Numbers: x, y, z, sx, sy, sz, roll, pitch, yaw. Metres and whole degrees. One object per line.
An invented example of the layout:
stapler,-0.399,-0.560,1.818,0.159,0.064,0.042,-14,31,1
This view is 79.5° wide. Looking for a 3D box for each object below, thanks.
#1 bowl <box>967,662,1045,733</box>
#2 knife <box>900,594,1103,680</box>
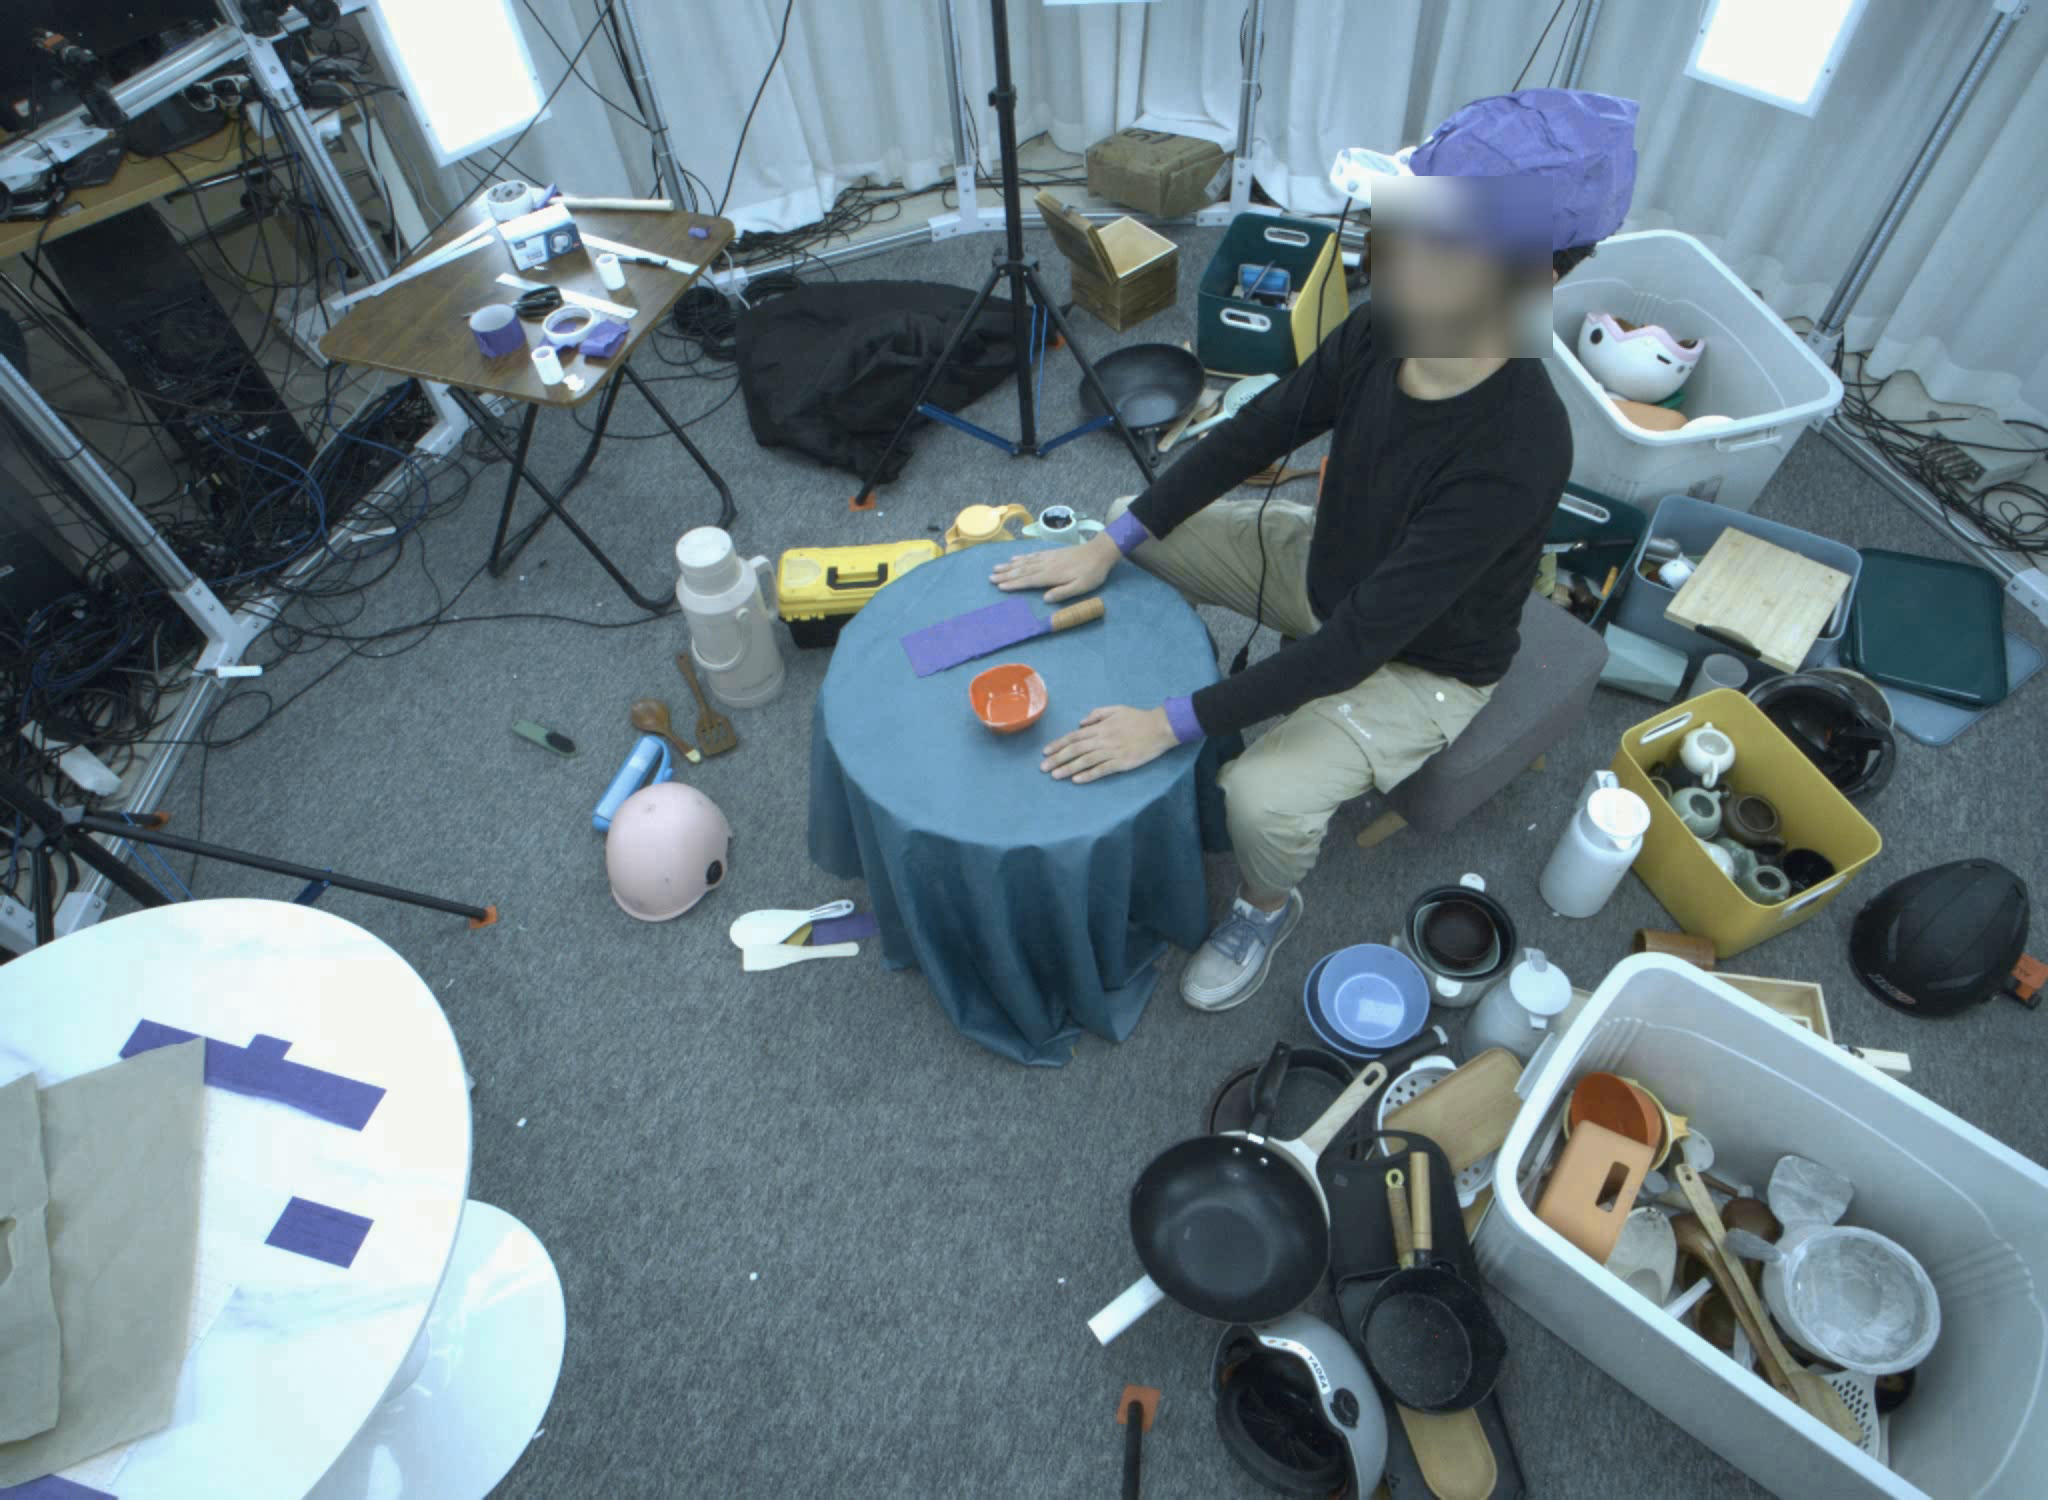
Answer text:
bowl,-0.023,-0.070,1.798,0.118,0.052,0.117,-3,54,5
knife,-0.037,-0.198,1.909,0.317,0.032,0.102,-20,57,-11
